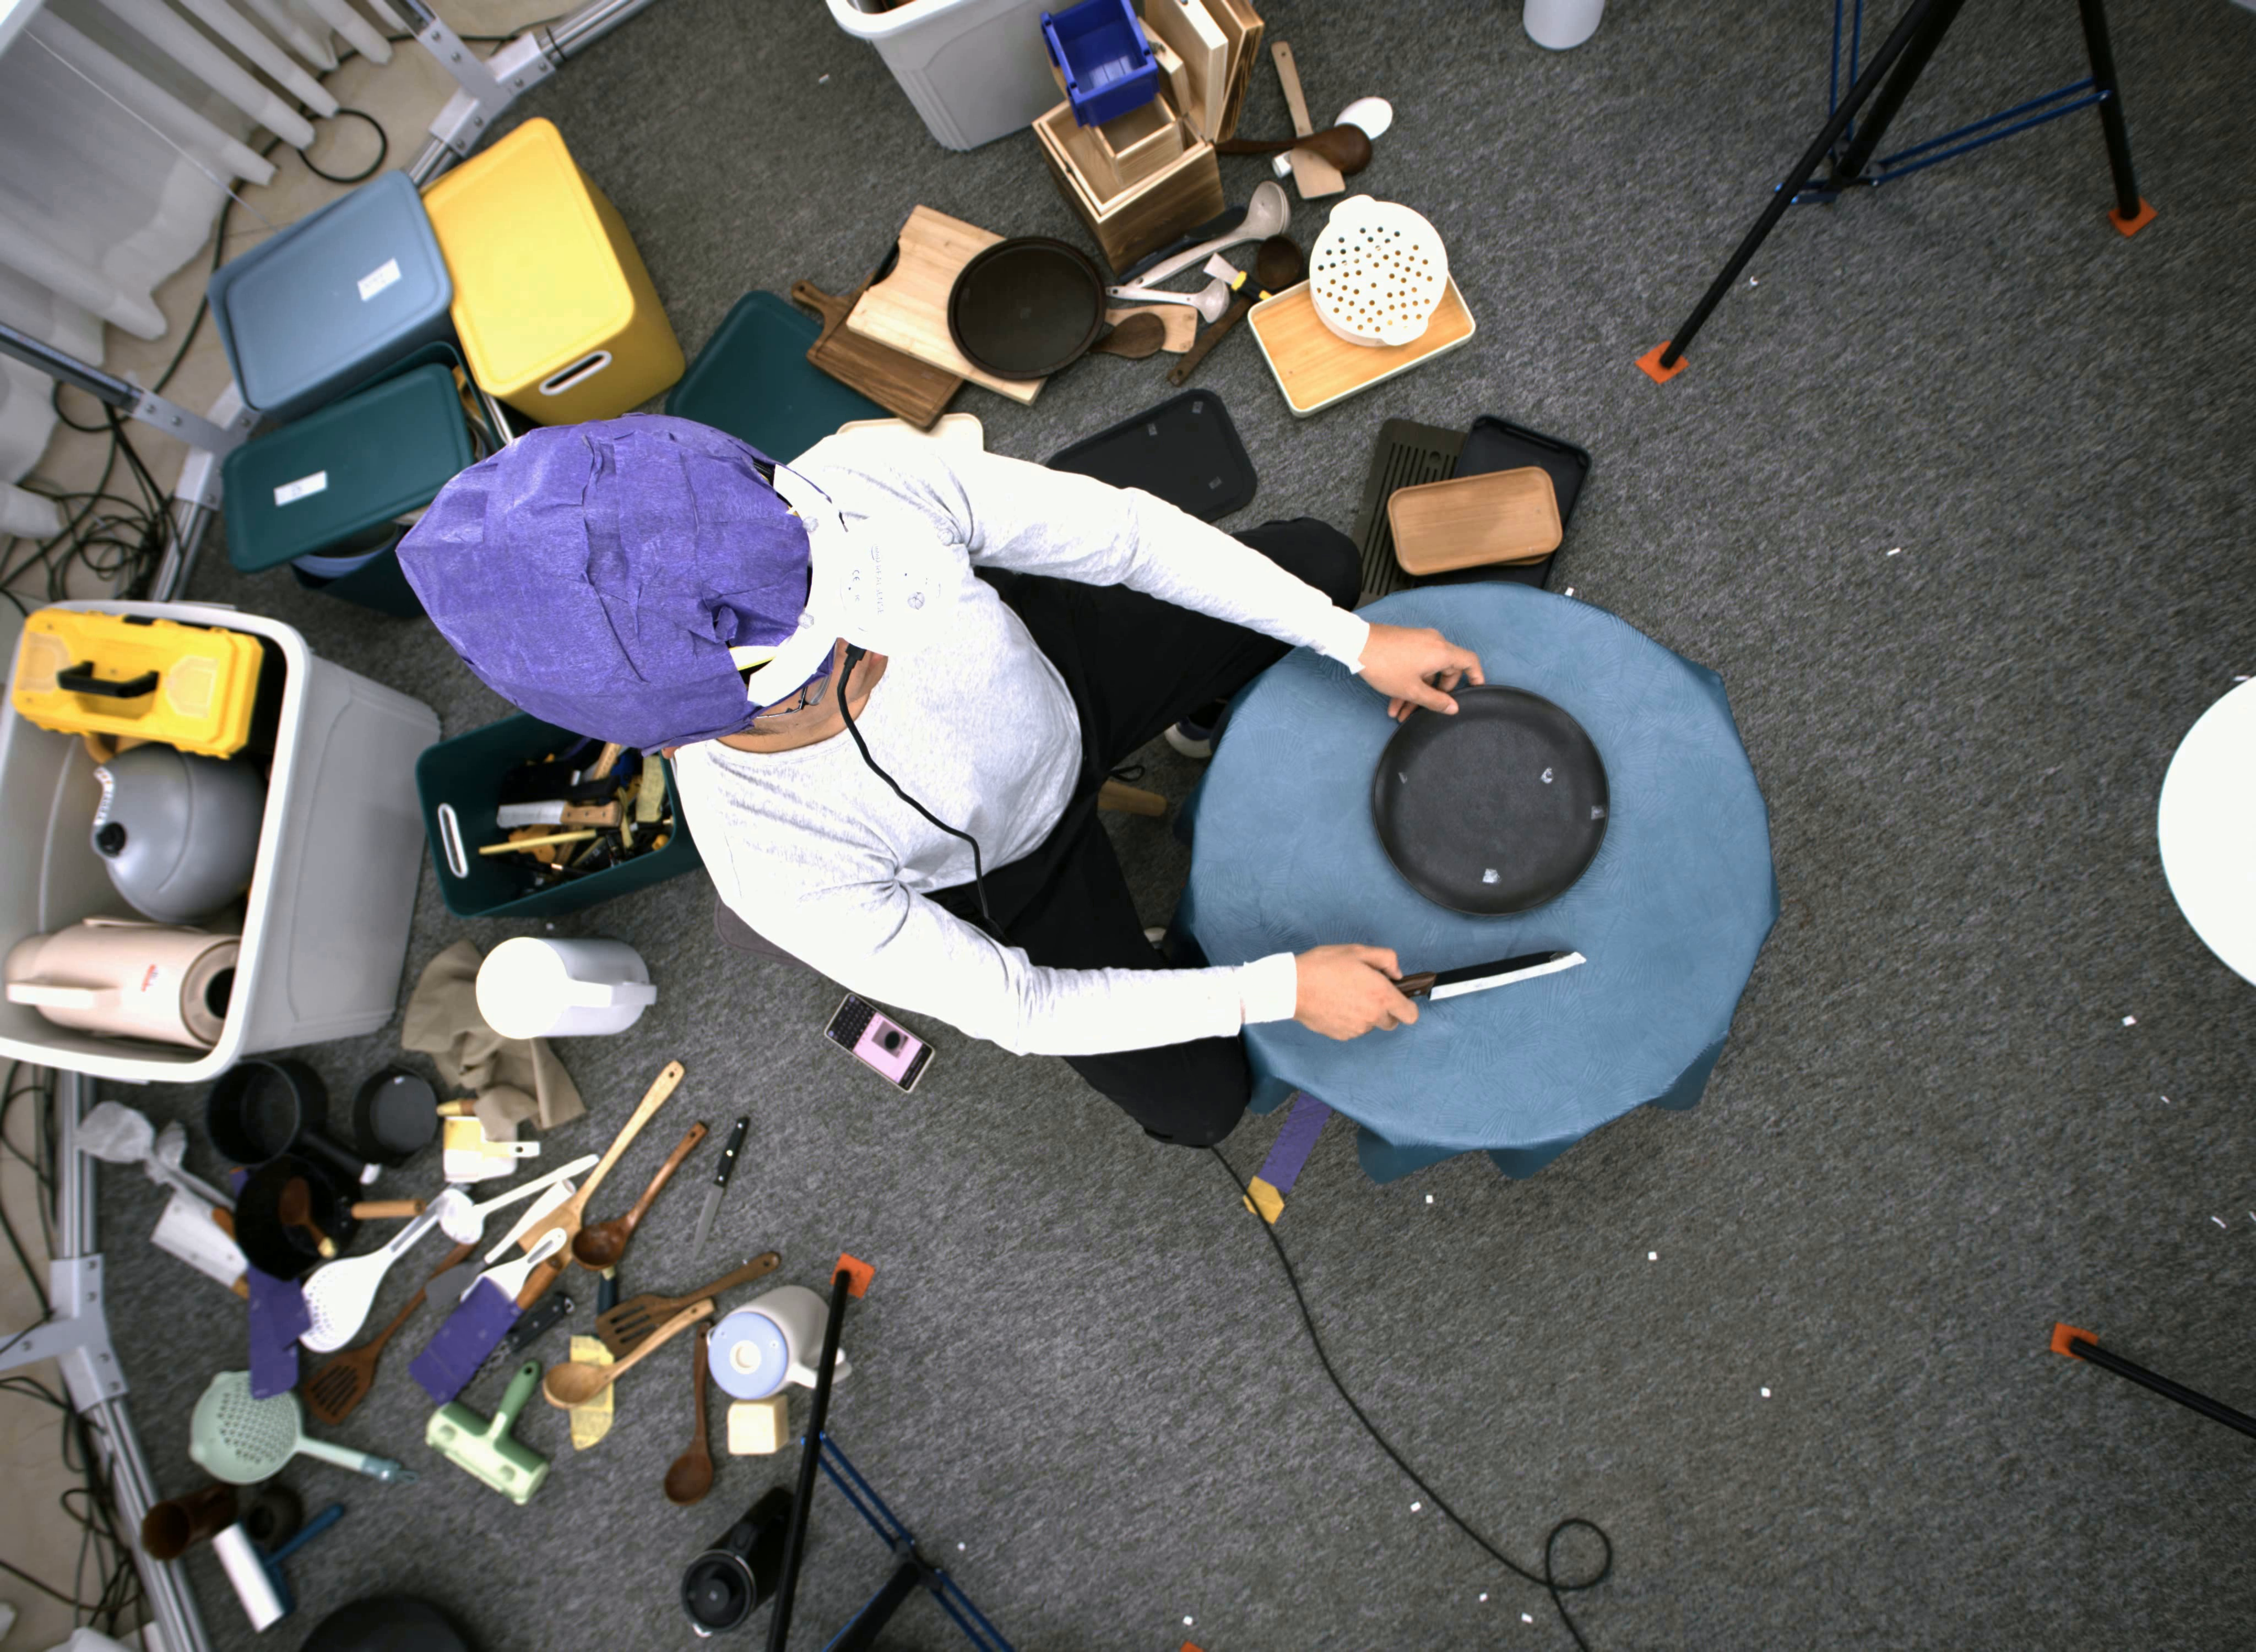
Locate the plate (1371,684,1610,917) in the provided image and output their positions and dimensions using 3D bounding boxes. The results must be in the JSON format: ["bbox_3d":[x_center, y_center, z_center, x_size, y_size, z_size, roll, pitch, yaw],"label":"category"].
[{"bbox_3d":[0.377,-0.029,1.434,0.245,0.023,0.243,-1,87,11],"label":"plate"}]

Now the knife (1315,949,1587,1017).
[{"bbox_3d":[0.331,0.156,1.405,0.289,0.051,0.019,-10,48,-3],"label":"knife"}]
